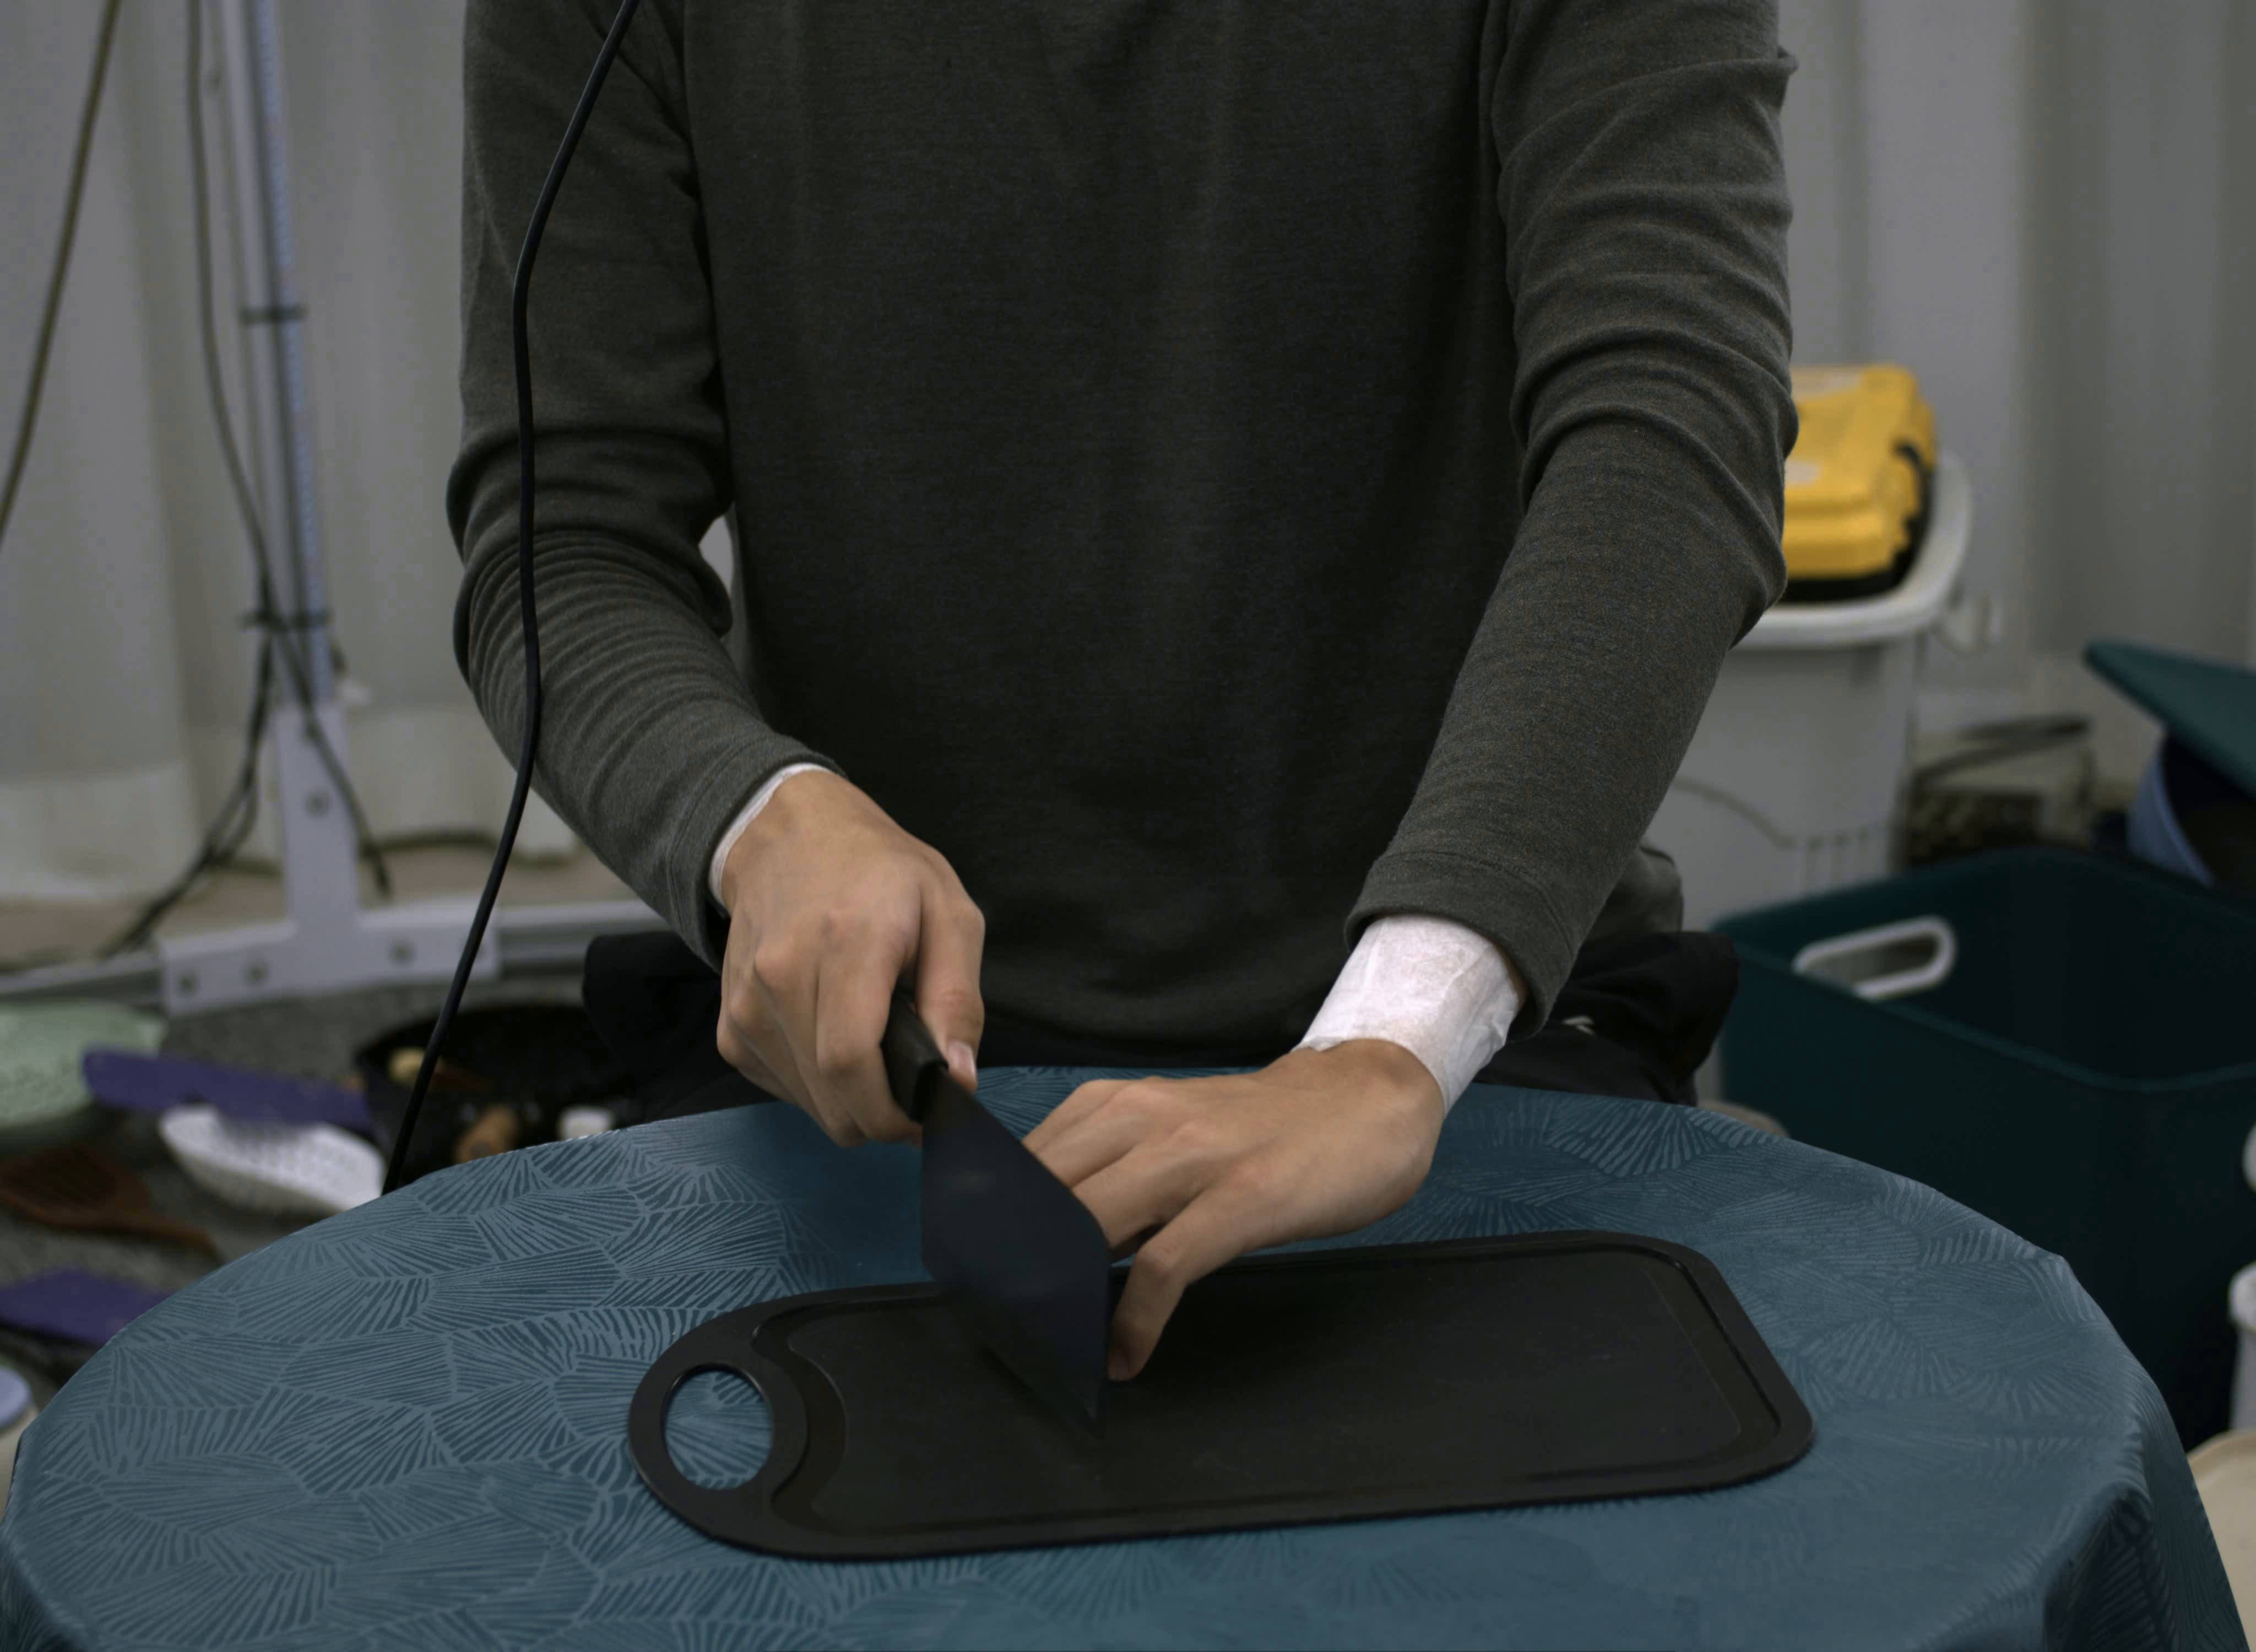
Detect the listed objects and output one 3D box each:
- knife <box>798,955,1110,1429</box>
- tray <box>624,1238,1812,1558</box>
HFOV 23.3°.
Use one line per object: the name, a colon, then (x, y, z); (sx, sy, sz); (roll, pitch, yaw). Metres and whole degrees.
knife: (-0.051, 0.098, 1.584); (0.021, 0.080, 0.305); (0, 17, -18)
tray: (0.020, 0.158, 1.539); (0.324, 0.010, 0.212); (-4, 14, -4)
